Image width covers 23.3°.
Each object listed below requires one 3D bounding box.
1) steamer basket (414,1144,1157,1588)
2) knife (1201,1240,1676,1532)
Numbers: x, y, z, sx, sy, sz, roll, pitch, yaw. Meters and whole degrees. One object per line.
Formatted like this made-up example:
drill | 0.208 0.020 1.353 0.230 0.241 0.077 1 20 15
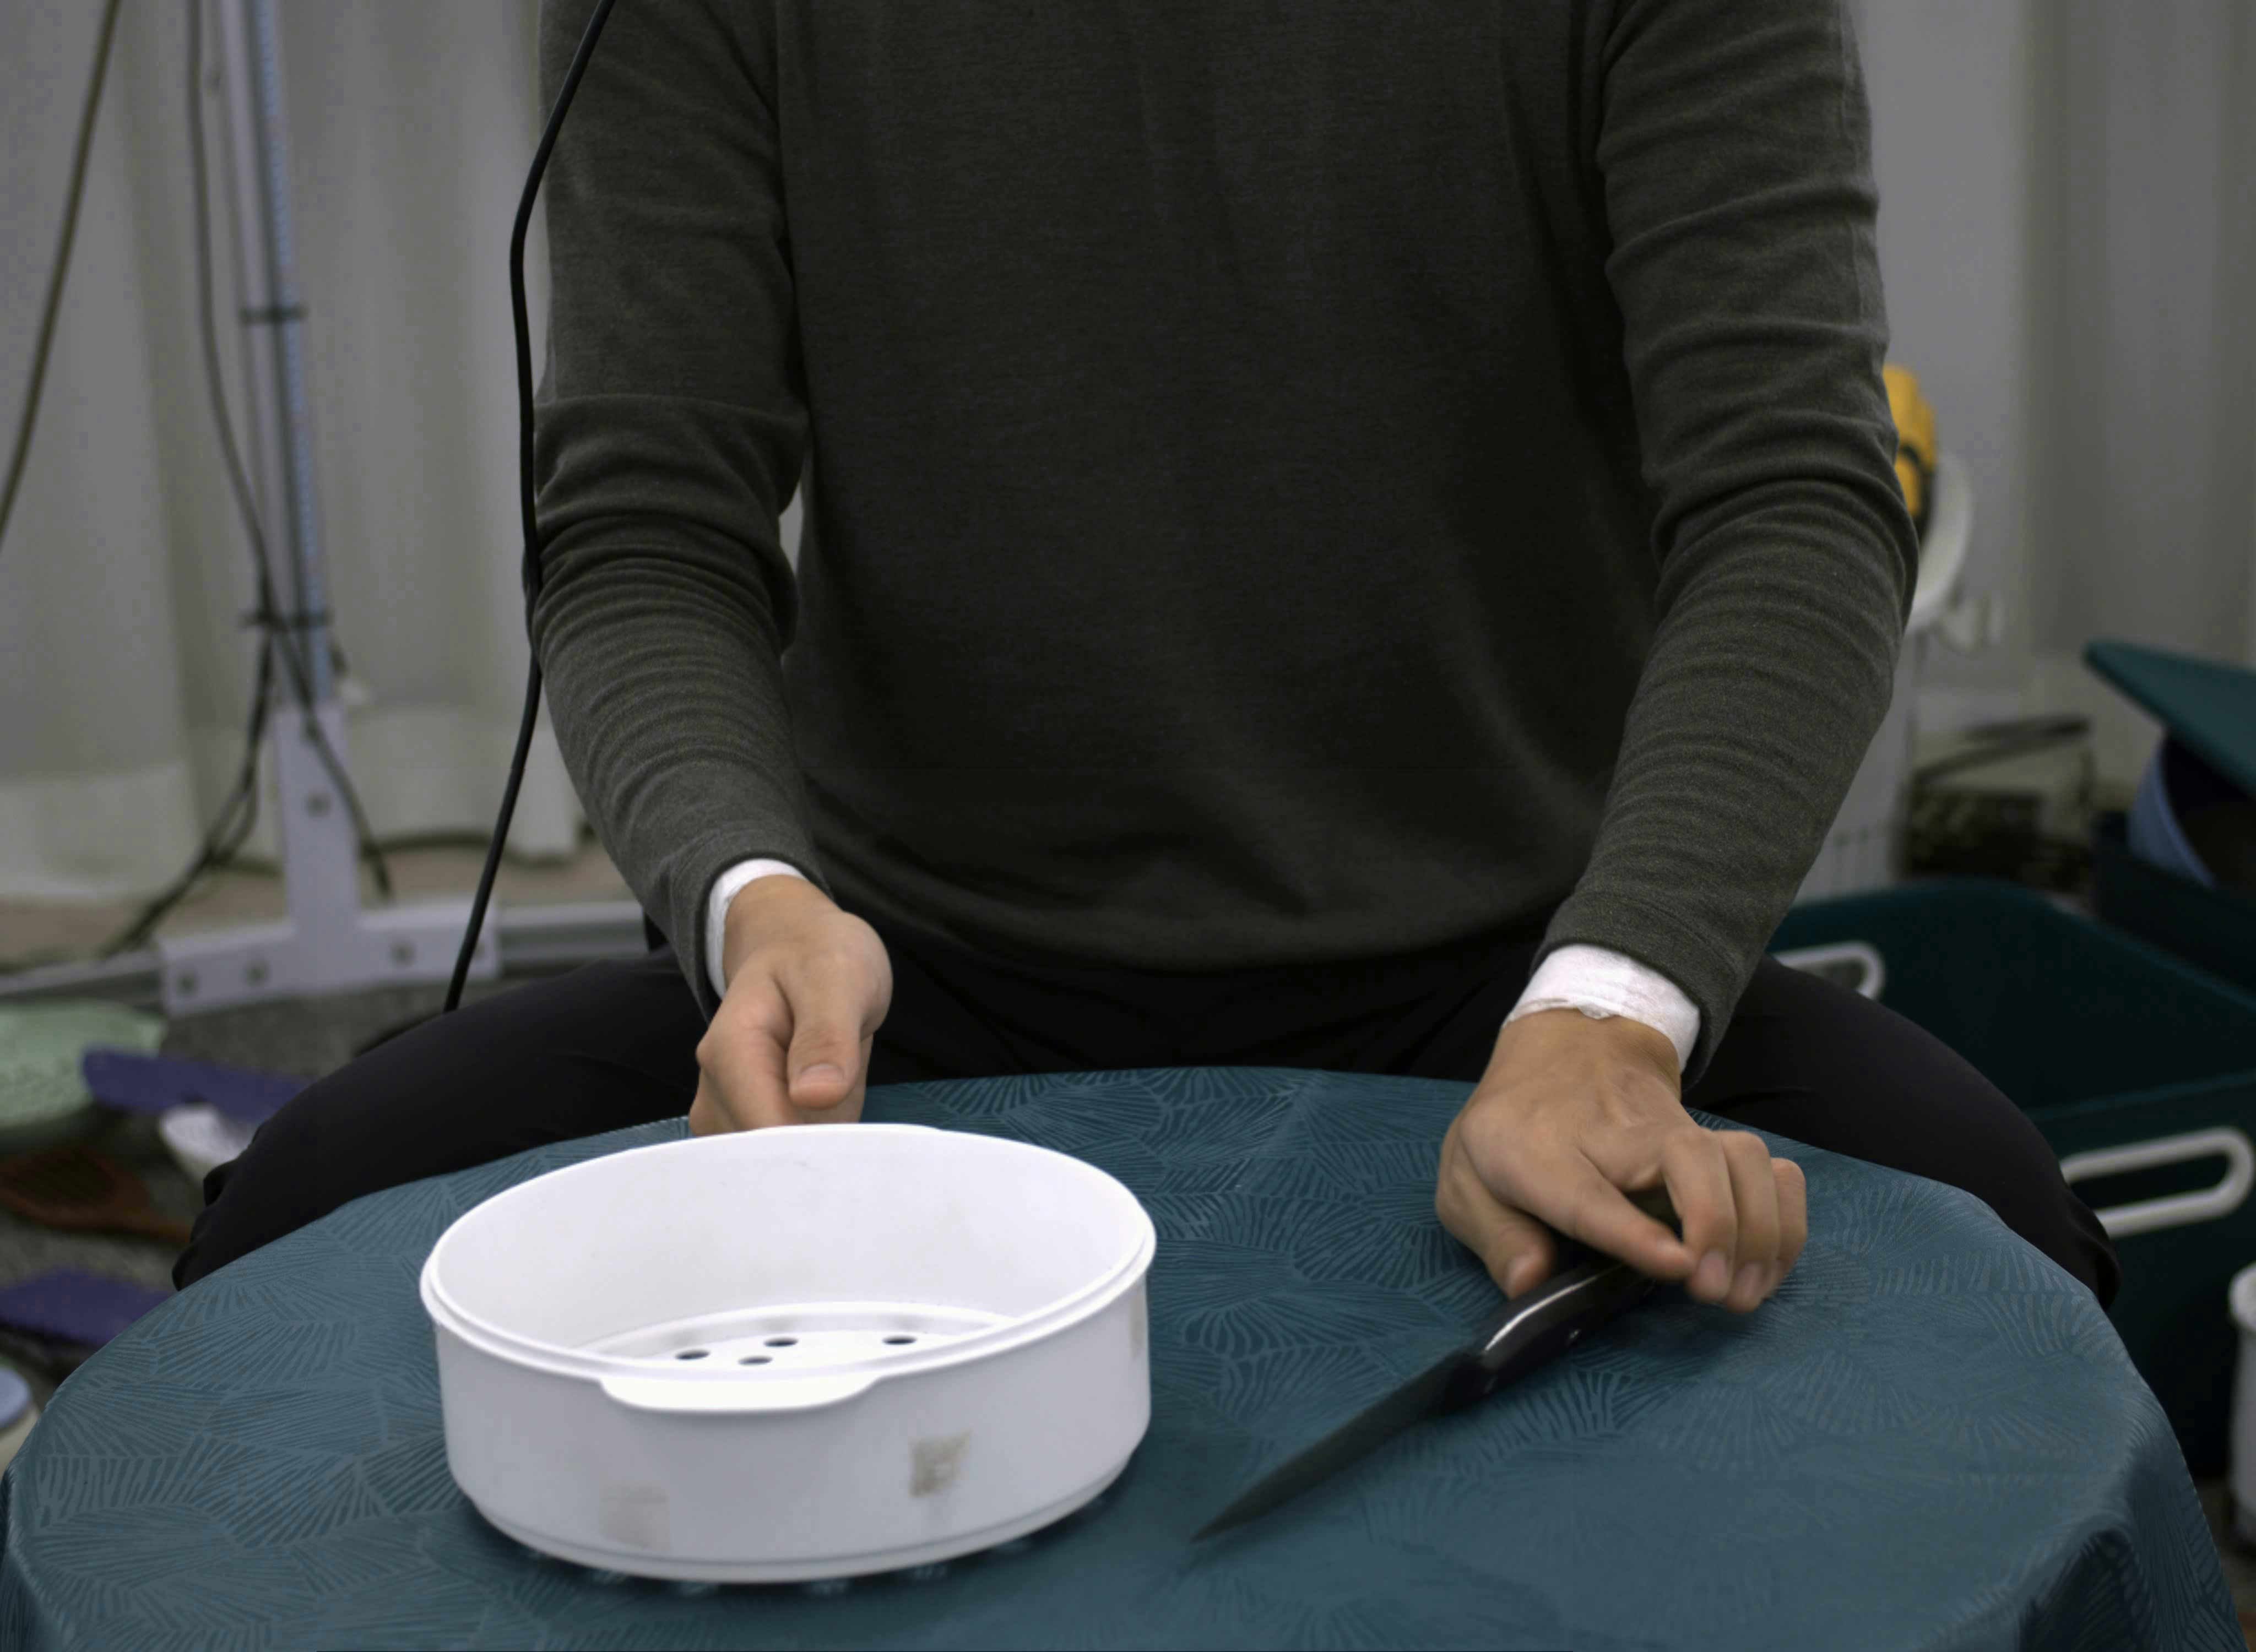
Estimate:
steamer basket | -0.091 0.146 1.489 0.201 0.069 0.232 -1 13 5
knife | 0.086 0.157 1.506 0.016 0.024 0.238 37 32 22
